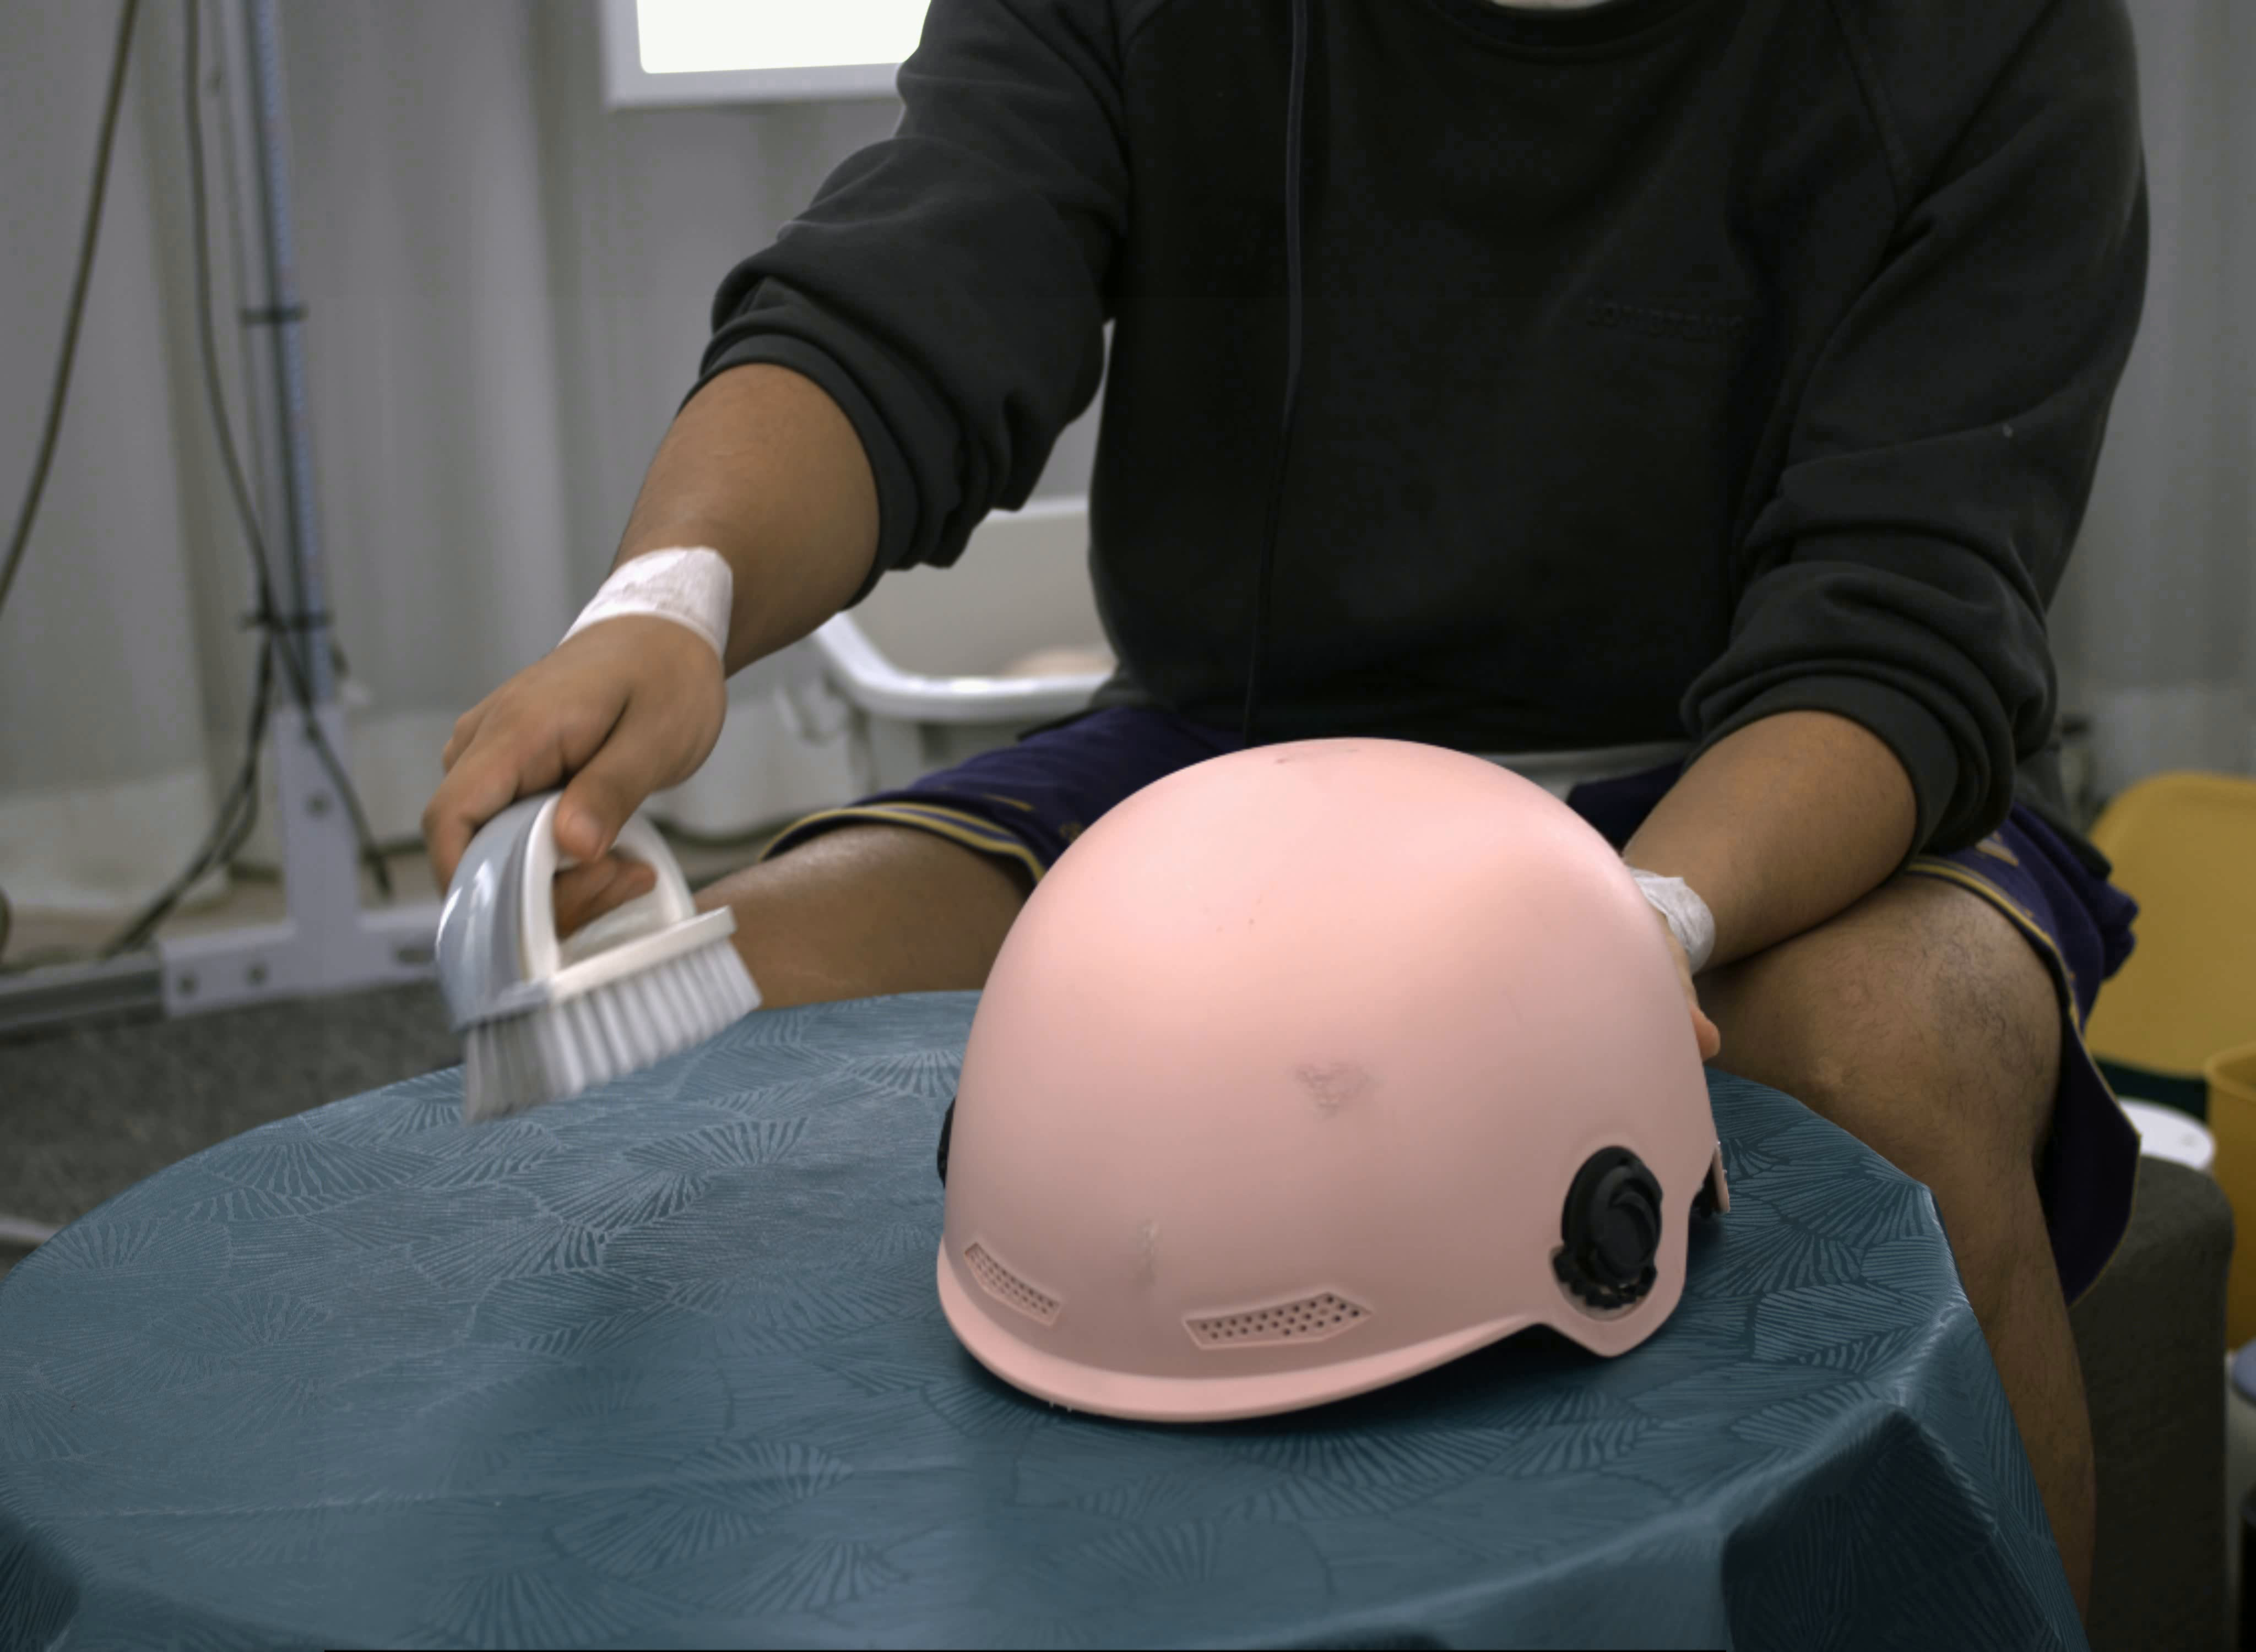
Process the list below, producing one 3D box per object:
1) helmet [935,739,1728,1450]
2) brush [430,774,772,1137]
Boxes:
[{"bbox_3d":[0.054,0.063,1.606,0.234,0.158,0.267,6,22,29],"label":"helmet"},{"bbox_3d":[-0.172,0.036,1.664,0.061,0.094,0.176,-18,5,21],"label":"brush"}]
